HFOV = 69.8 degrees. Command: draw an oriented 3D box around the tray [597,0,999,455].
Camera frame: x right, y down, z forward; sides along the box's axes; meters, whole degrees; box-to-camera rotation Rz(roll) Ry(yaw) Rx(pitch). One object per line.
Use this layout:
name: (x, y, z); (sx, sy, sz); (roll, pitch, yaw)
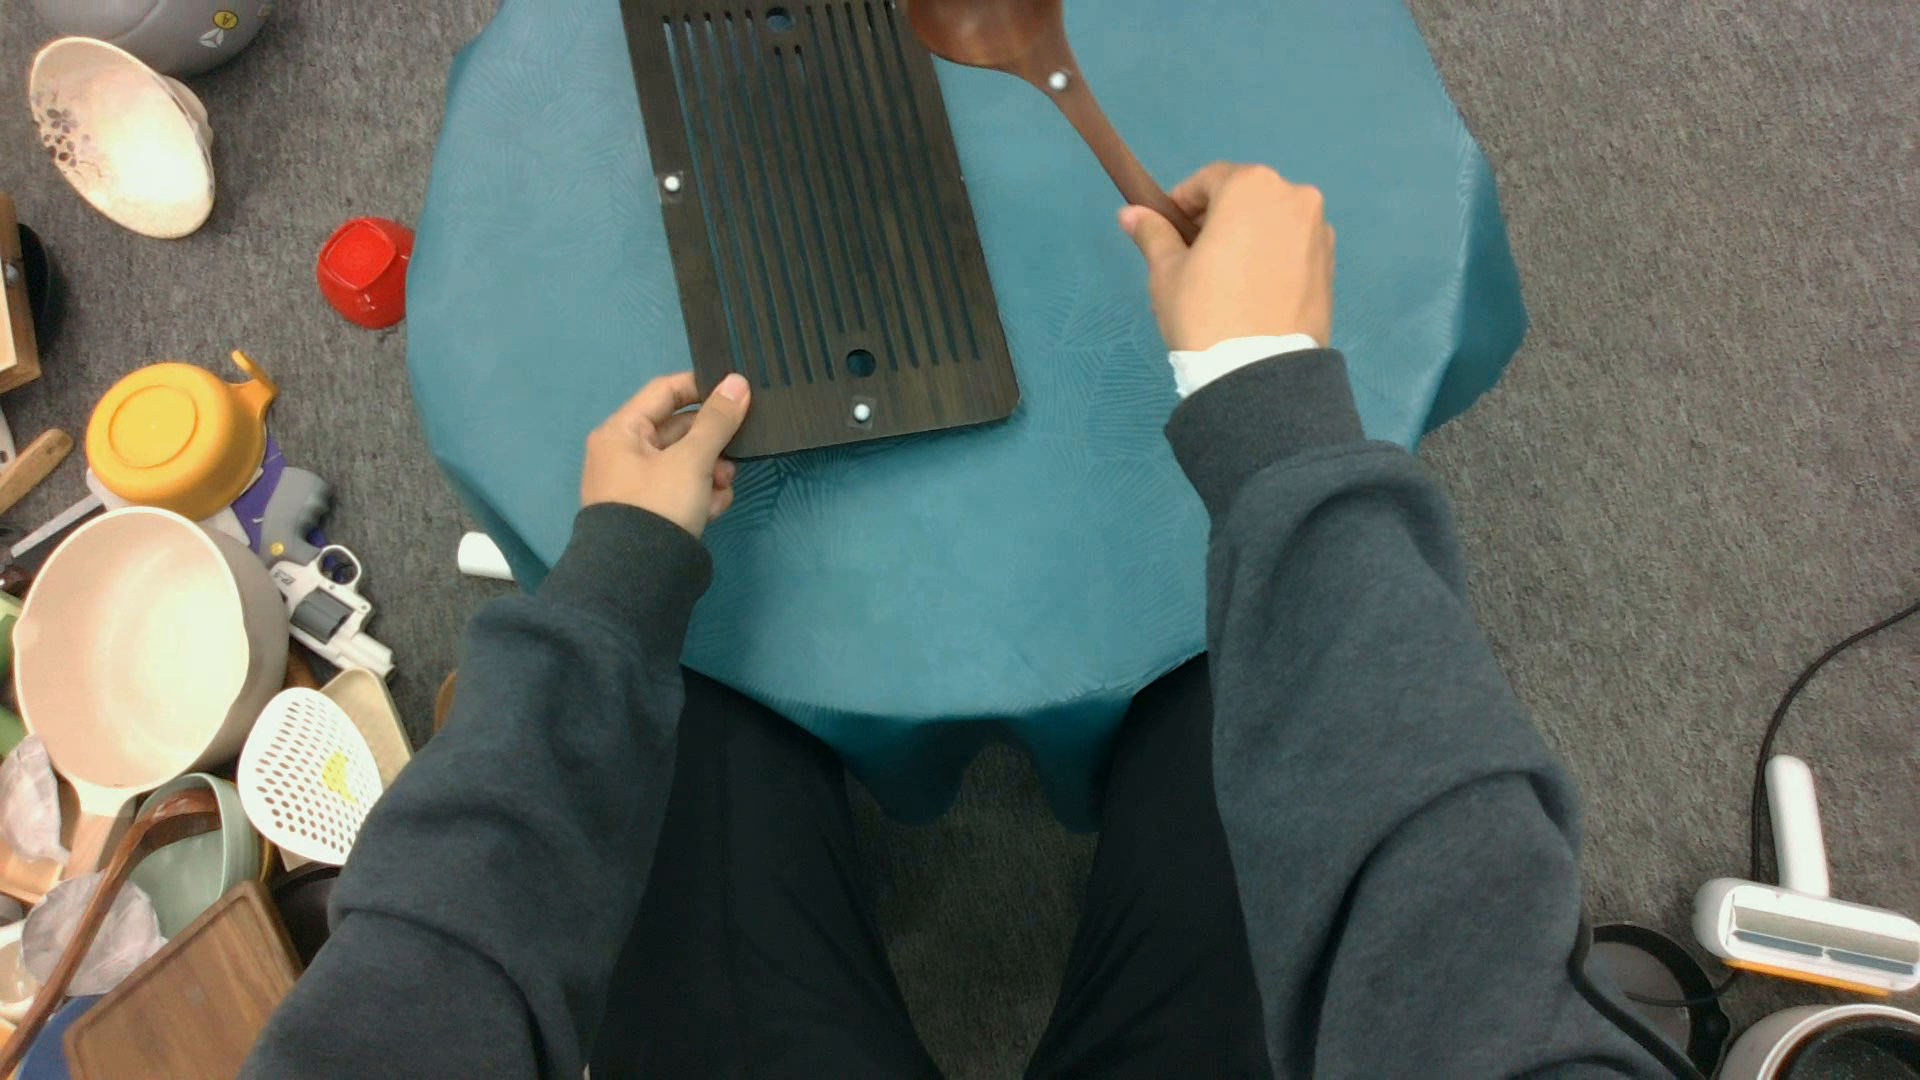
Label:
tray: (-0.094, -0.197, 0.764); (0.170, 0.018, 0.306); (-10, 74, -15)

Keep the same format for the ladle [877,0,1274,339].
ladle: (0.060, -0.192, 0.661); (0.076, 0.065, 0.260); (-37, 96, 33)
